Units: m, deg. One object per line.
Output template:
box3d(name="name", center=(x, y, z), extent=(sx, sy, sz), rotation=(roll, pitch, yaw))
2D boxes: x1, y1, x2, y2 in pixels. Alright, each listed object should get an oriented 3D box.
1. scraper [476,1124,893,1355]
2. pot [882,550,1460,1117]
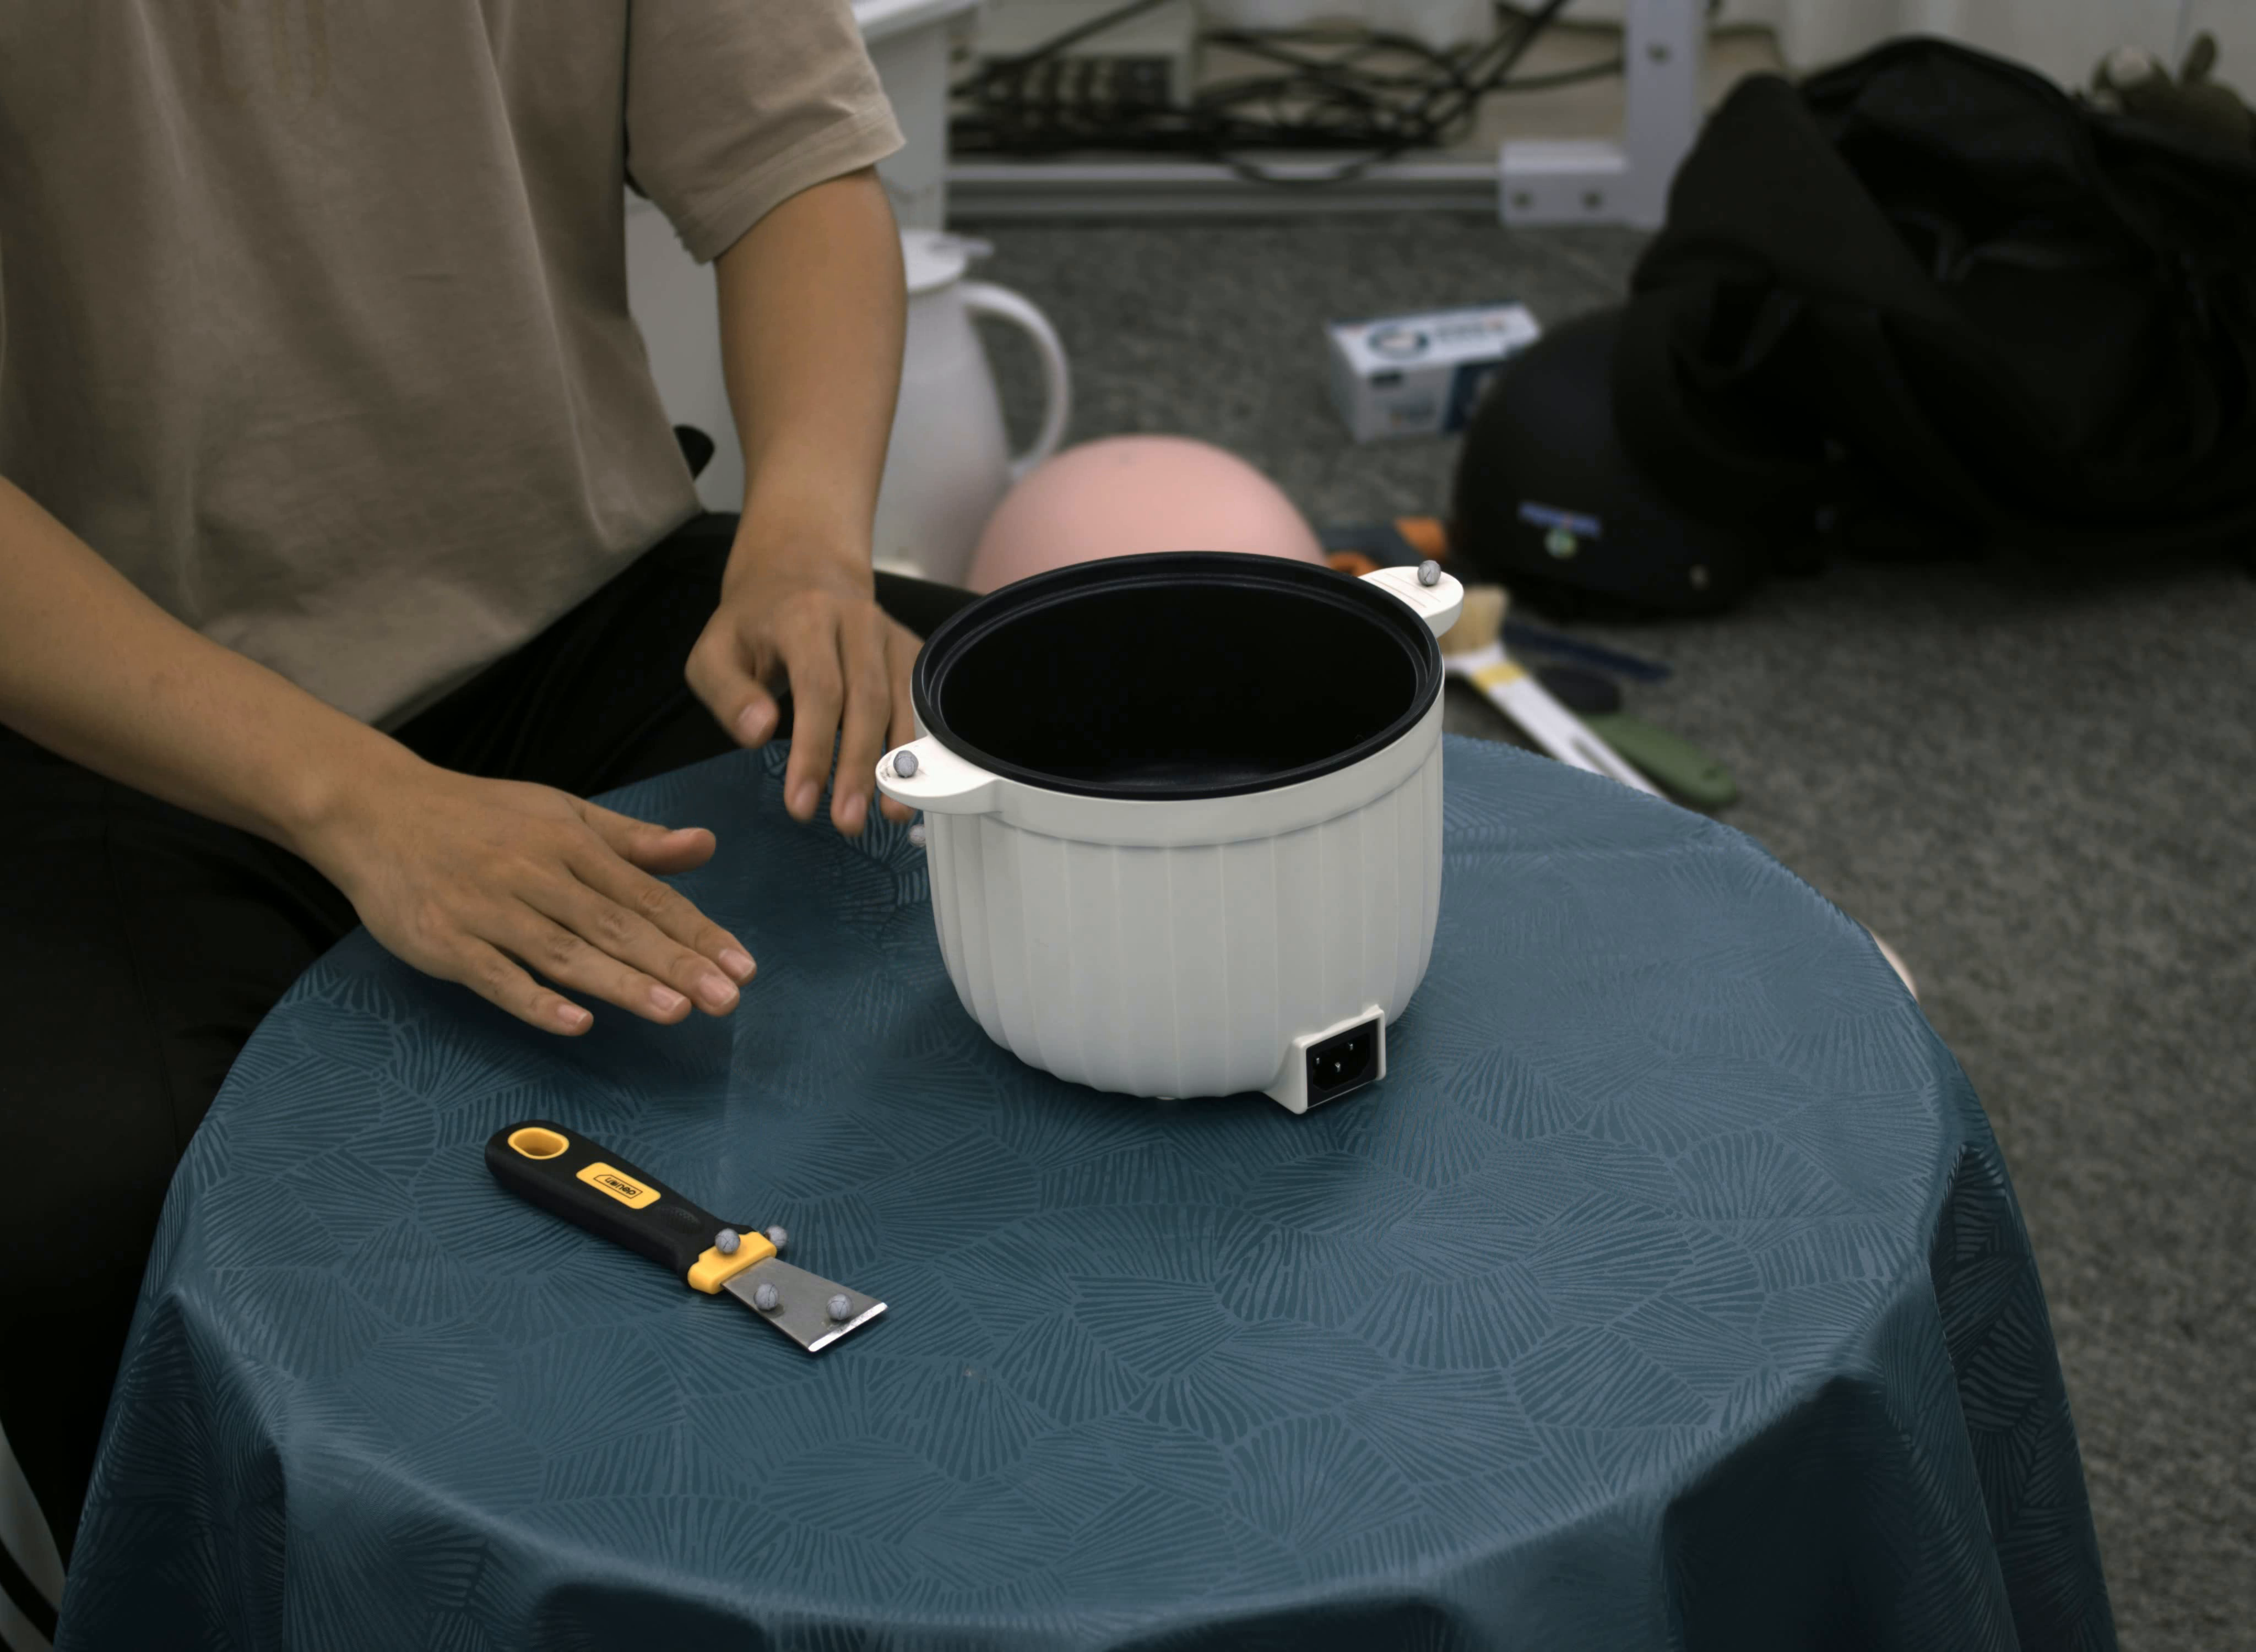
box3d(name="scraper", center=(-0.150, 0.134, 1.834), extent=(0.170, 0.015, 0.039), rotation=(23, 41, 36))
box3d(name="pot", center=(0.015, 0.003, 1.940), extent=(0.242, 0.141, 0.191), rotation=(-20, 36, -33))
